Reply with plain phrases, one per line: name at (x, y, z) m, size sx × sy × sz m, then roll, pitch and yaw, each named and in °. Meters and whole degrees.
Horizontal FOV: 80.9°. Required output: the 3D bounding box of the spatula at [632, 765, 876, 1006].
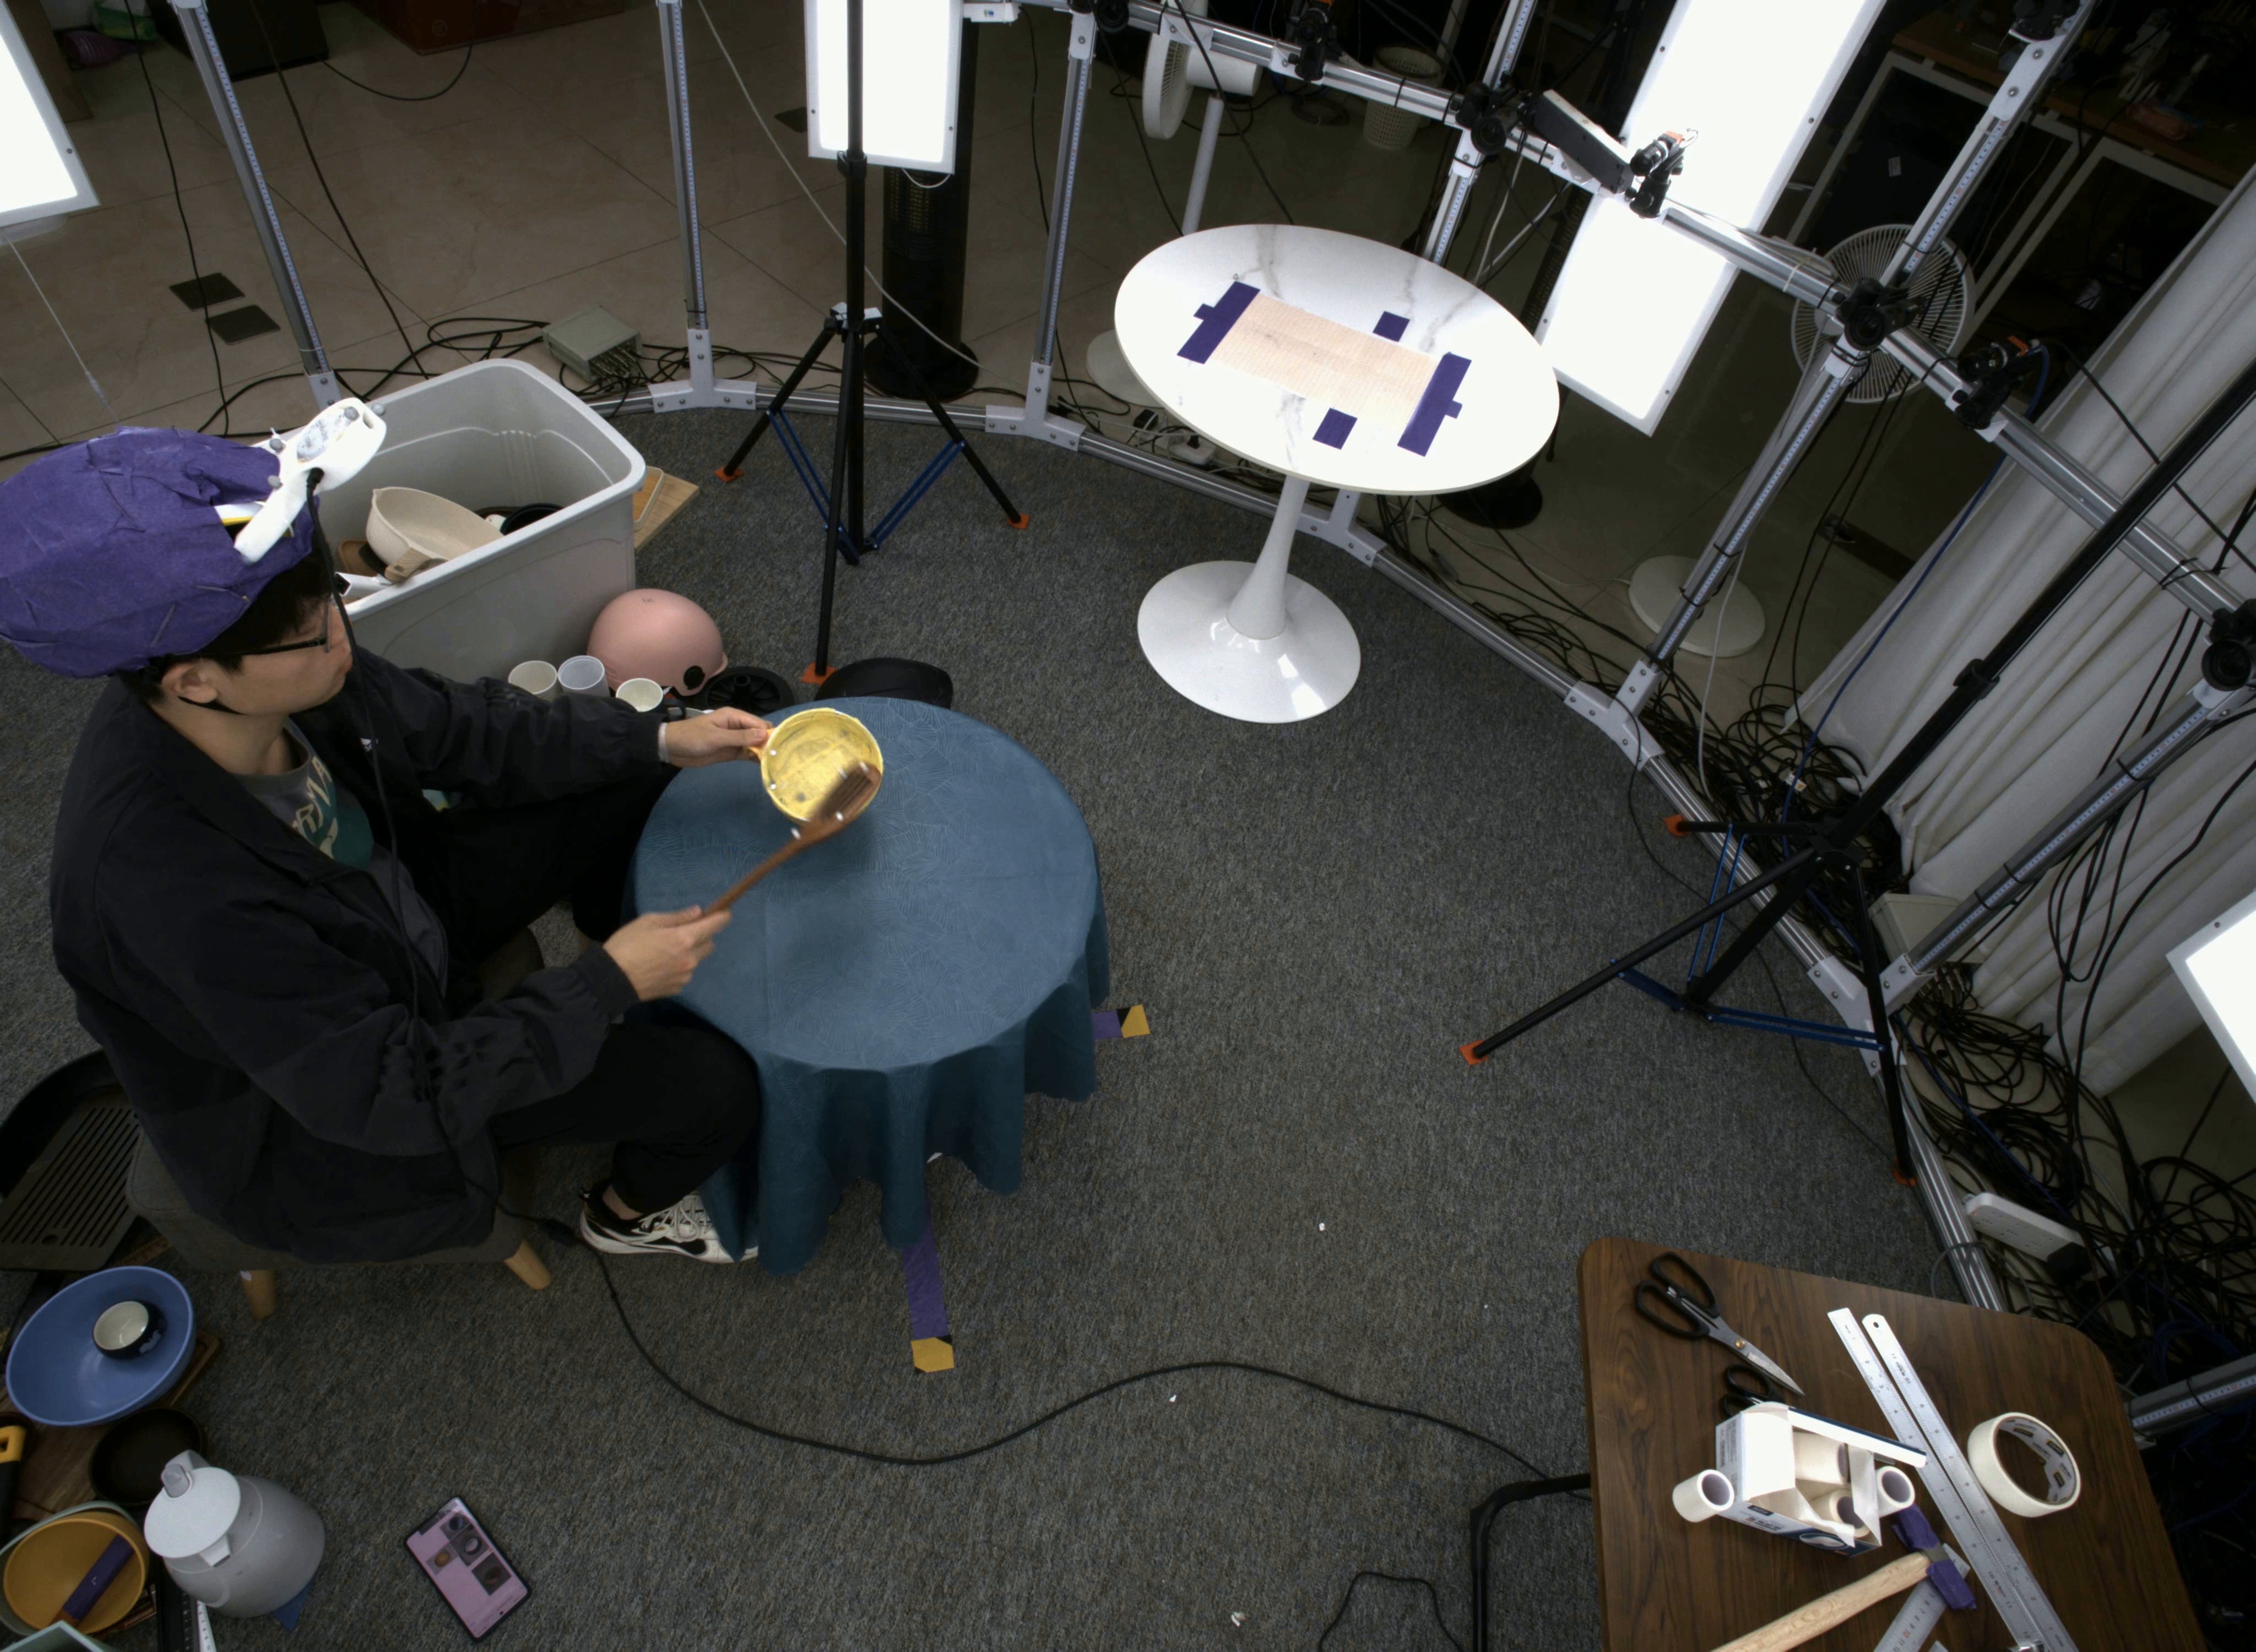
spatula at (-0.427, 0.063, 1.487) m, size 0.082 × 0.025 × 0.386 m, roll 8°, pitch 47°, yaw 45°

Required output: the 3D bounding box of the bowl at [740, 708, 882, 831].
bowl at (-0.410, -0.074, 1.673) m, size 0.180 × 0.074 × 0.152 m, roll 17°, pitch 71°, yaw -12°
